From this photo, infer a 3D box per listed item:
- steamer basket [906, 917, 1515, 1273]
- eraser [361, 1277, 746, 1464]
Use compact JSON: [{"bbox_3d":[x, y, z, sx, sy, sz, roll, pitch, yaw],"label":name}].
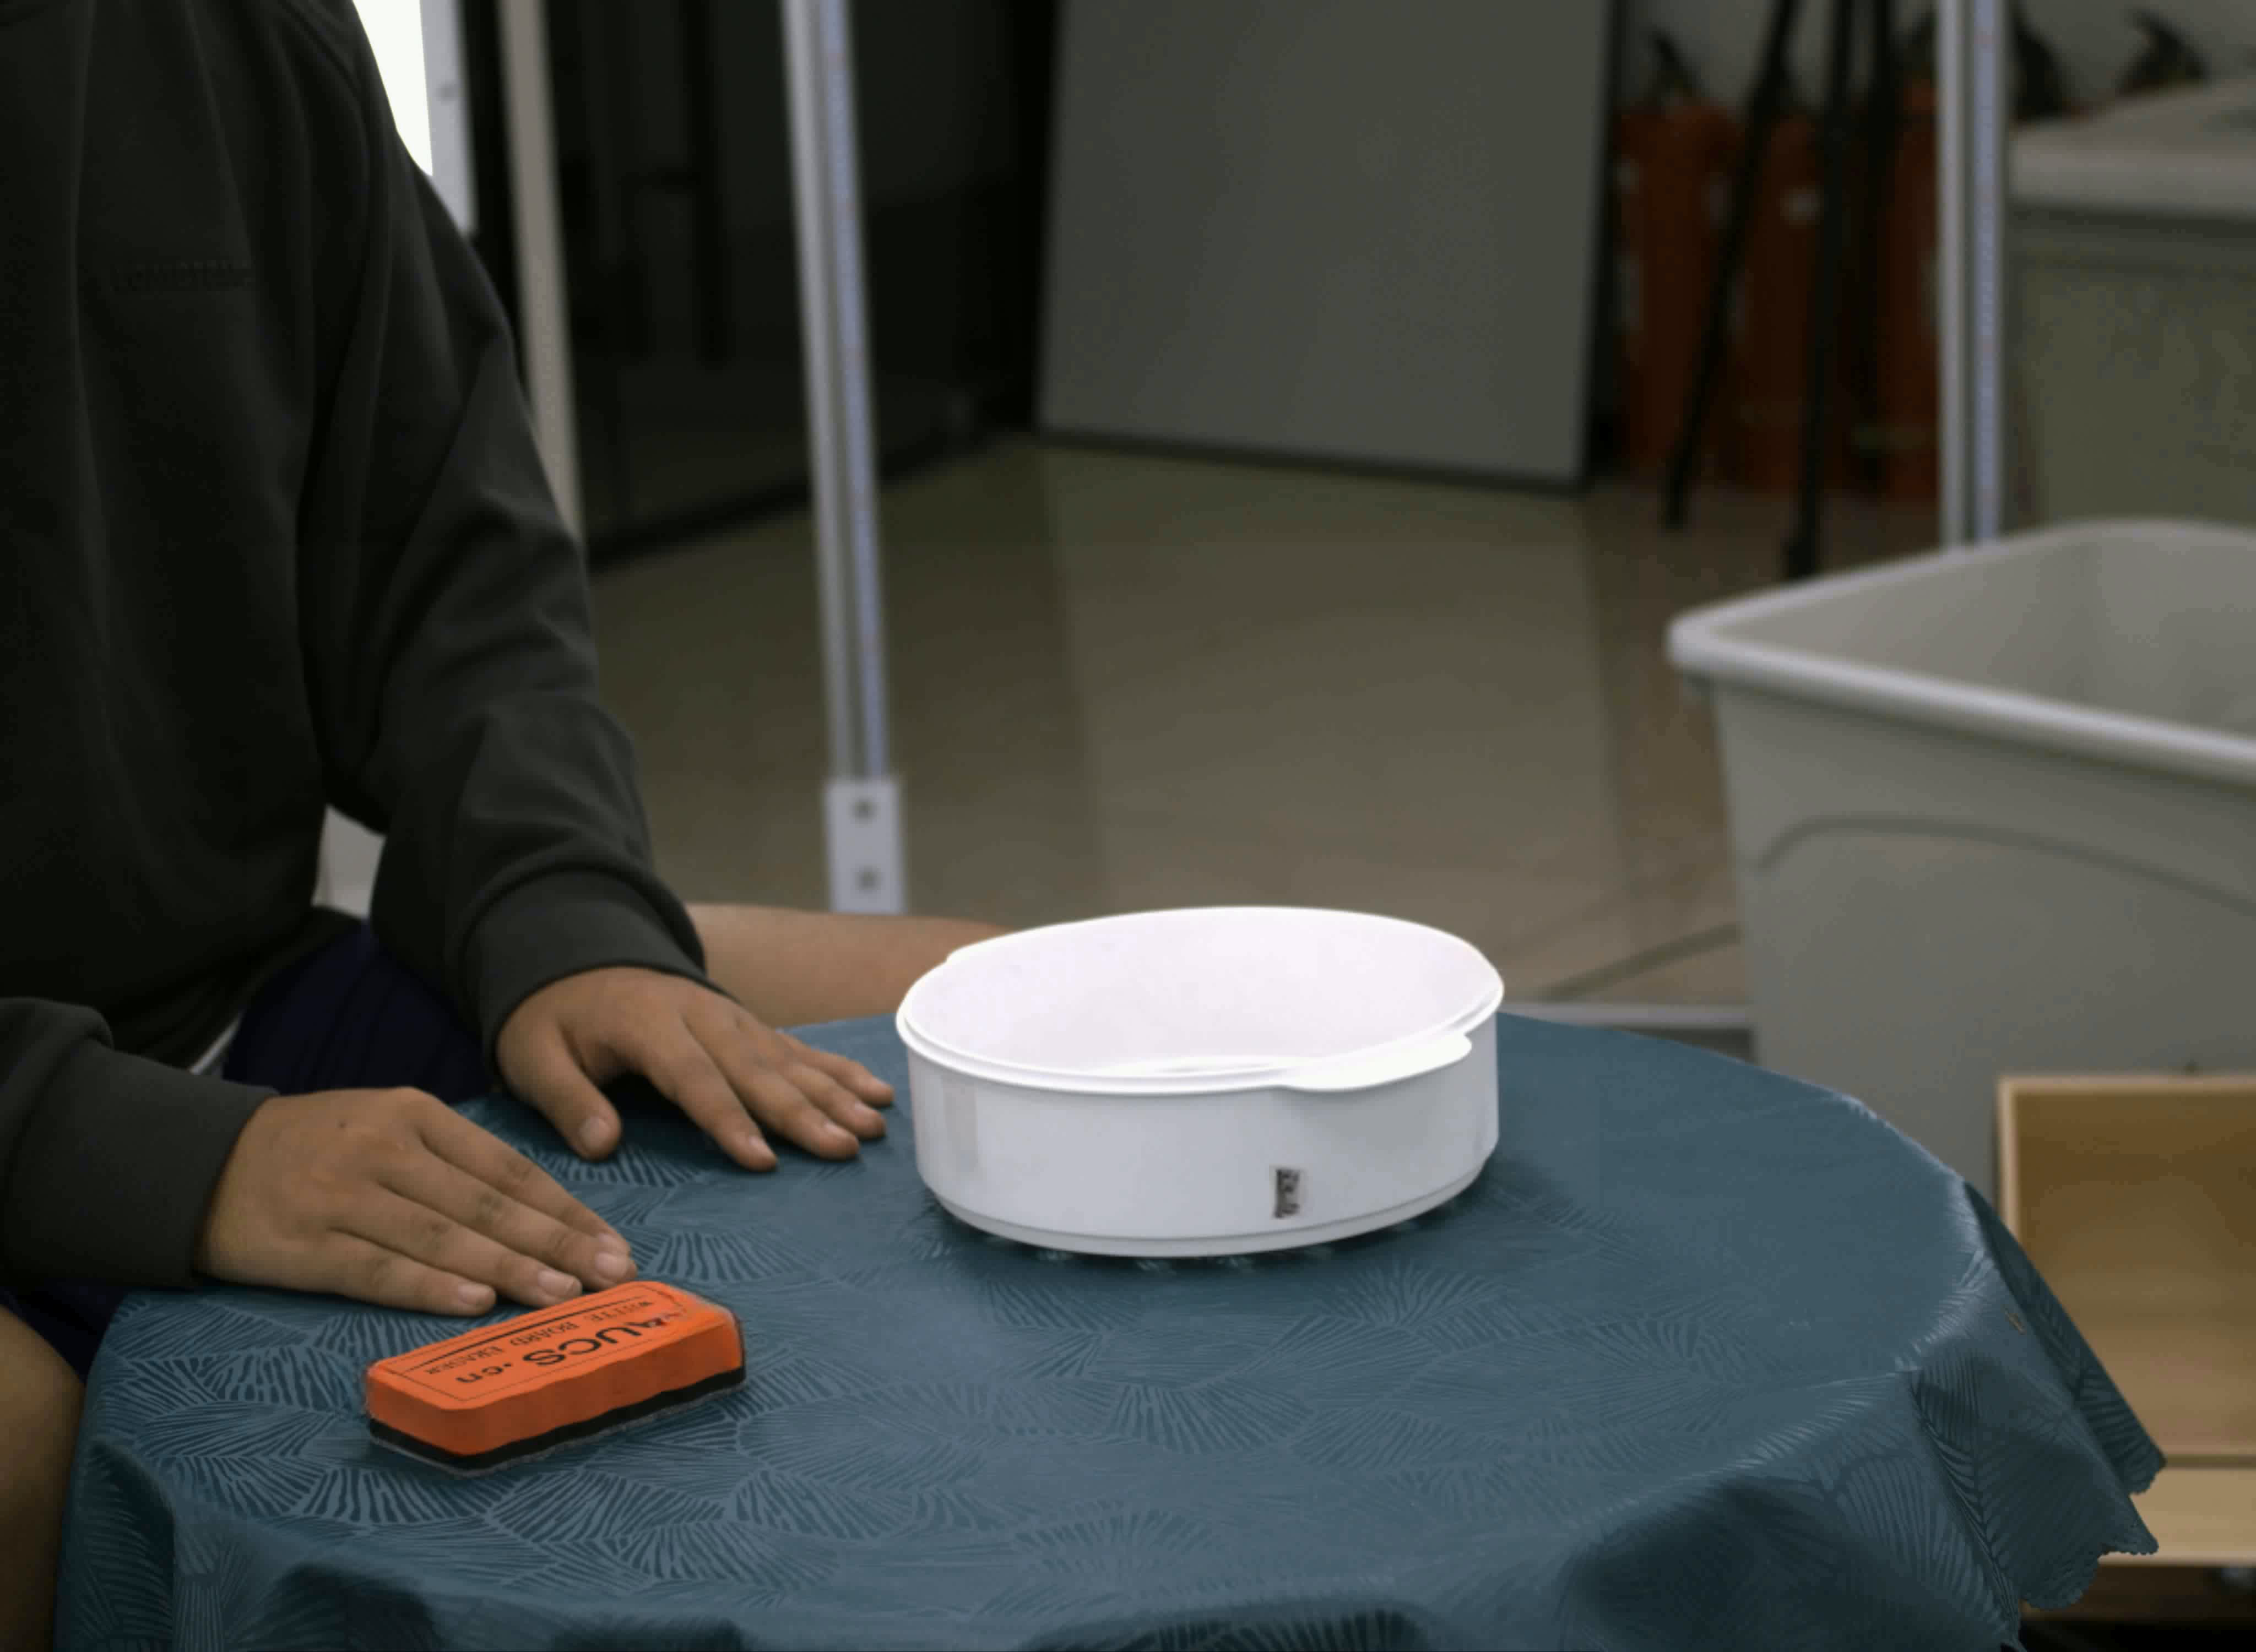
[{"bbox_3d":[0.029,0.088,1.763,0.197,0.070,0.233,-14,17,-33],"label":"steamer basket"},{"bbox_3d":[-0.168,0.160,1.594,0.106,0.023,0.059,-16,12,-38],"label":"eraser"}]
